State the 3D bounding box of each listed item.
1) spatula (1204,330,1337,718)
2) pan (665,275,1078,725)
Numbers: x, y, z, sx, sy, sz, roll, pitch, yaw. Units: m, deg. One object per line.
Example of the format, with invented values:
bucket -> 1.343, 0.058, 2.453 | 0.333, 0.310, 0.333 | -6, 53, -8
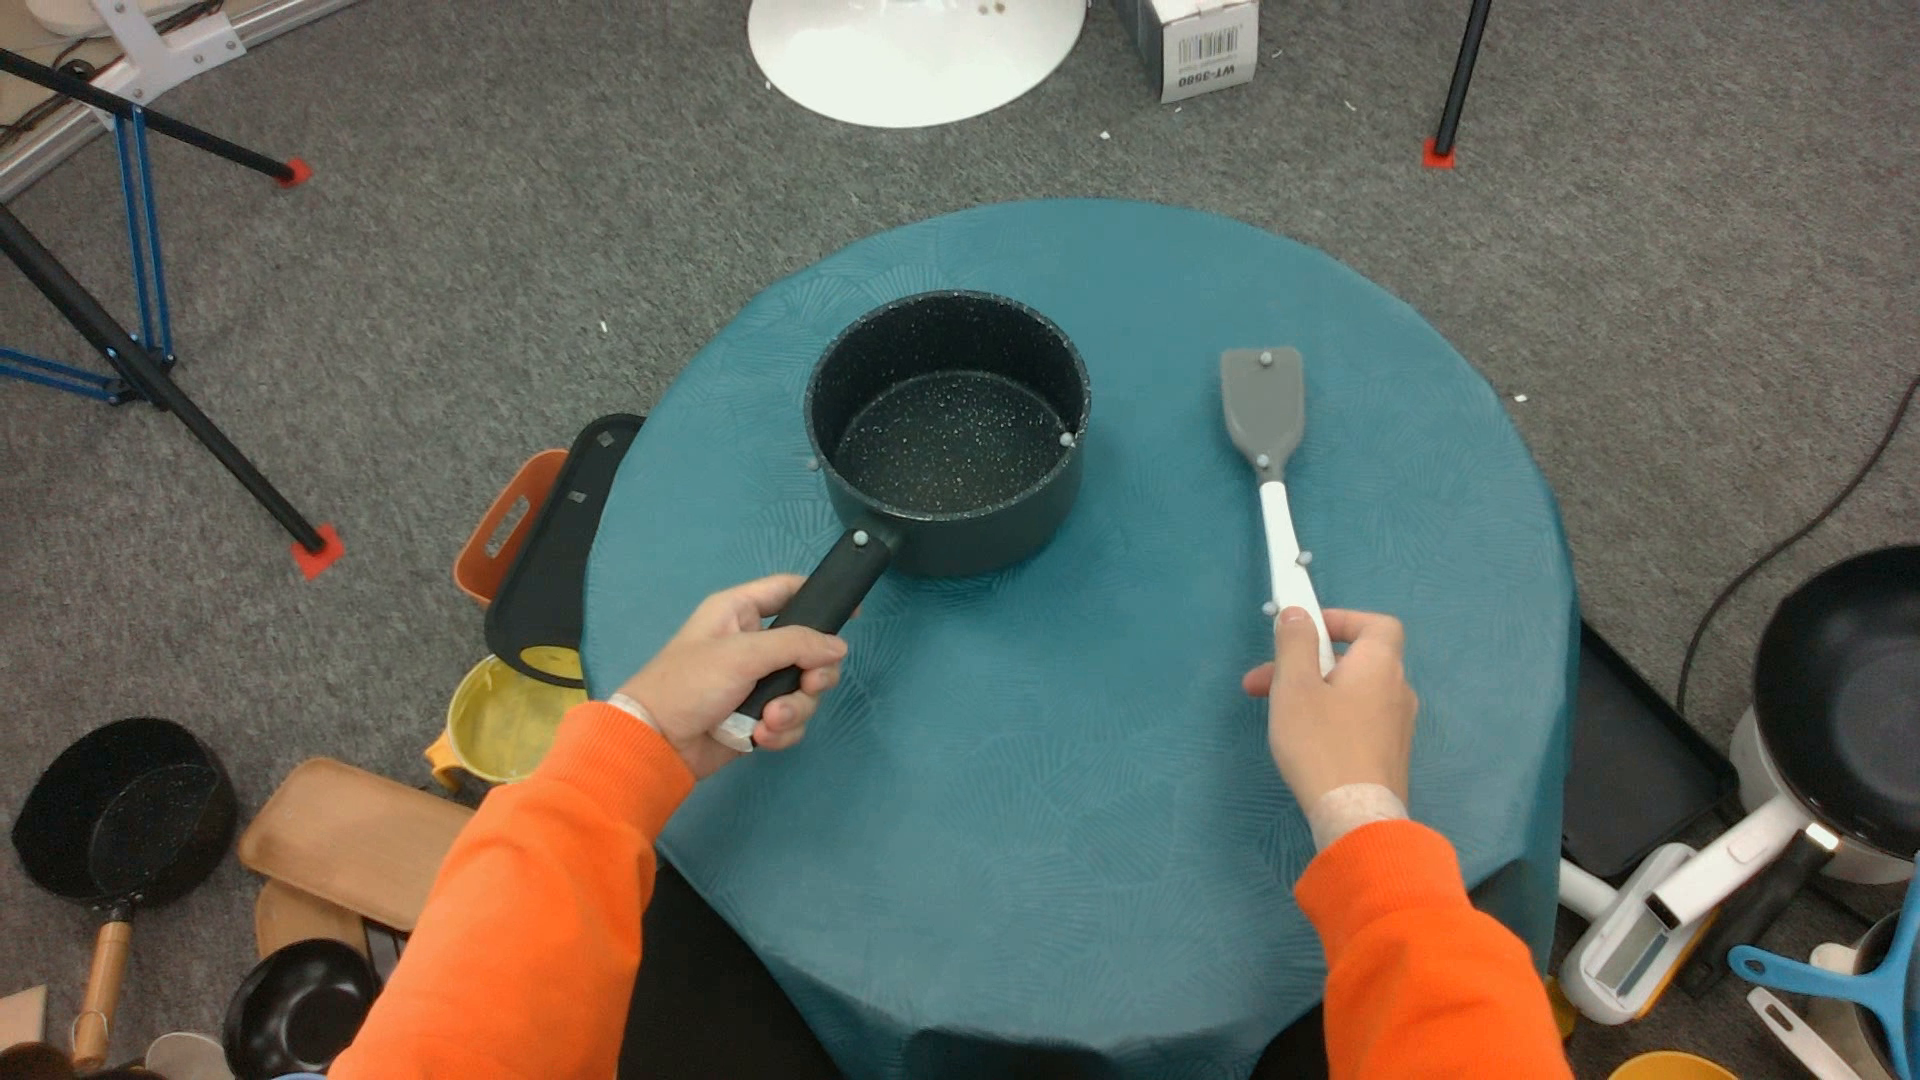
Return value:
spatula -> 0.184, -0.023, 0.814 | 0.058, 0.032, 0.289 | -5, 48, 8
pan -> -0.054, -0.015, 0.803 | 0.172, 0.086, 0.330 | 24, 60, 18
